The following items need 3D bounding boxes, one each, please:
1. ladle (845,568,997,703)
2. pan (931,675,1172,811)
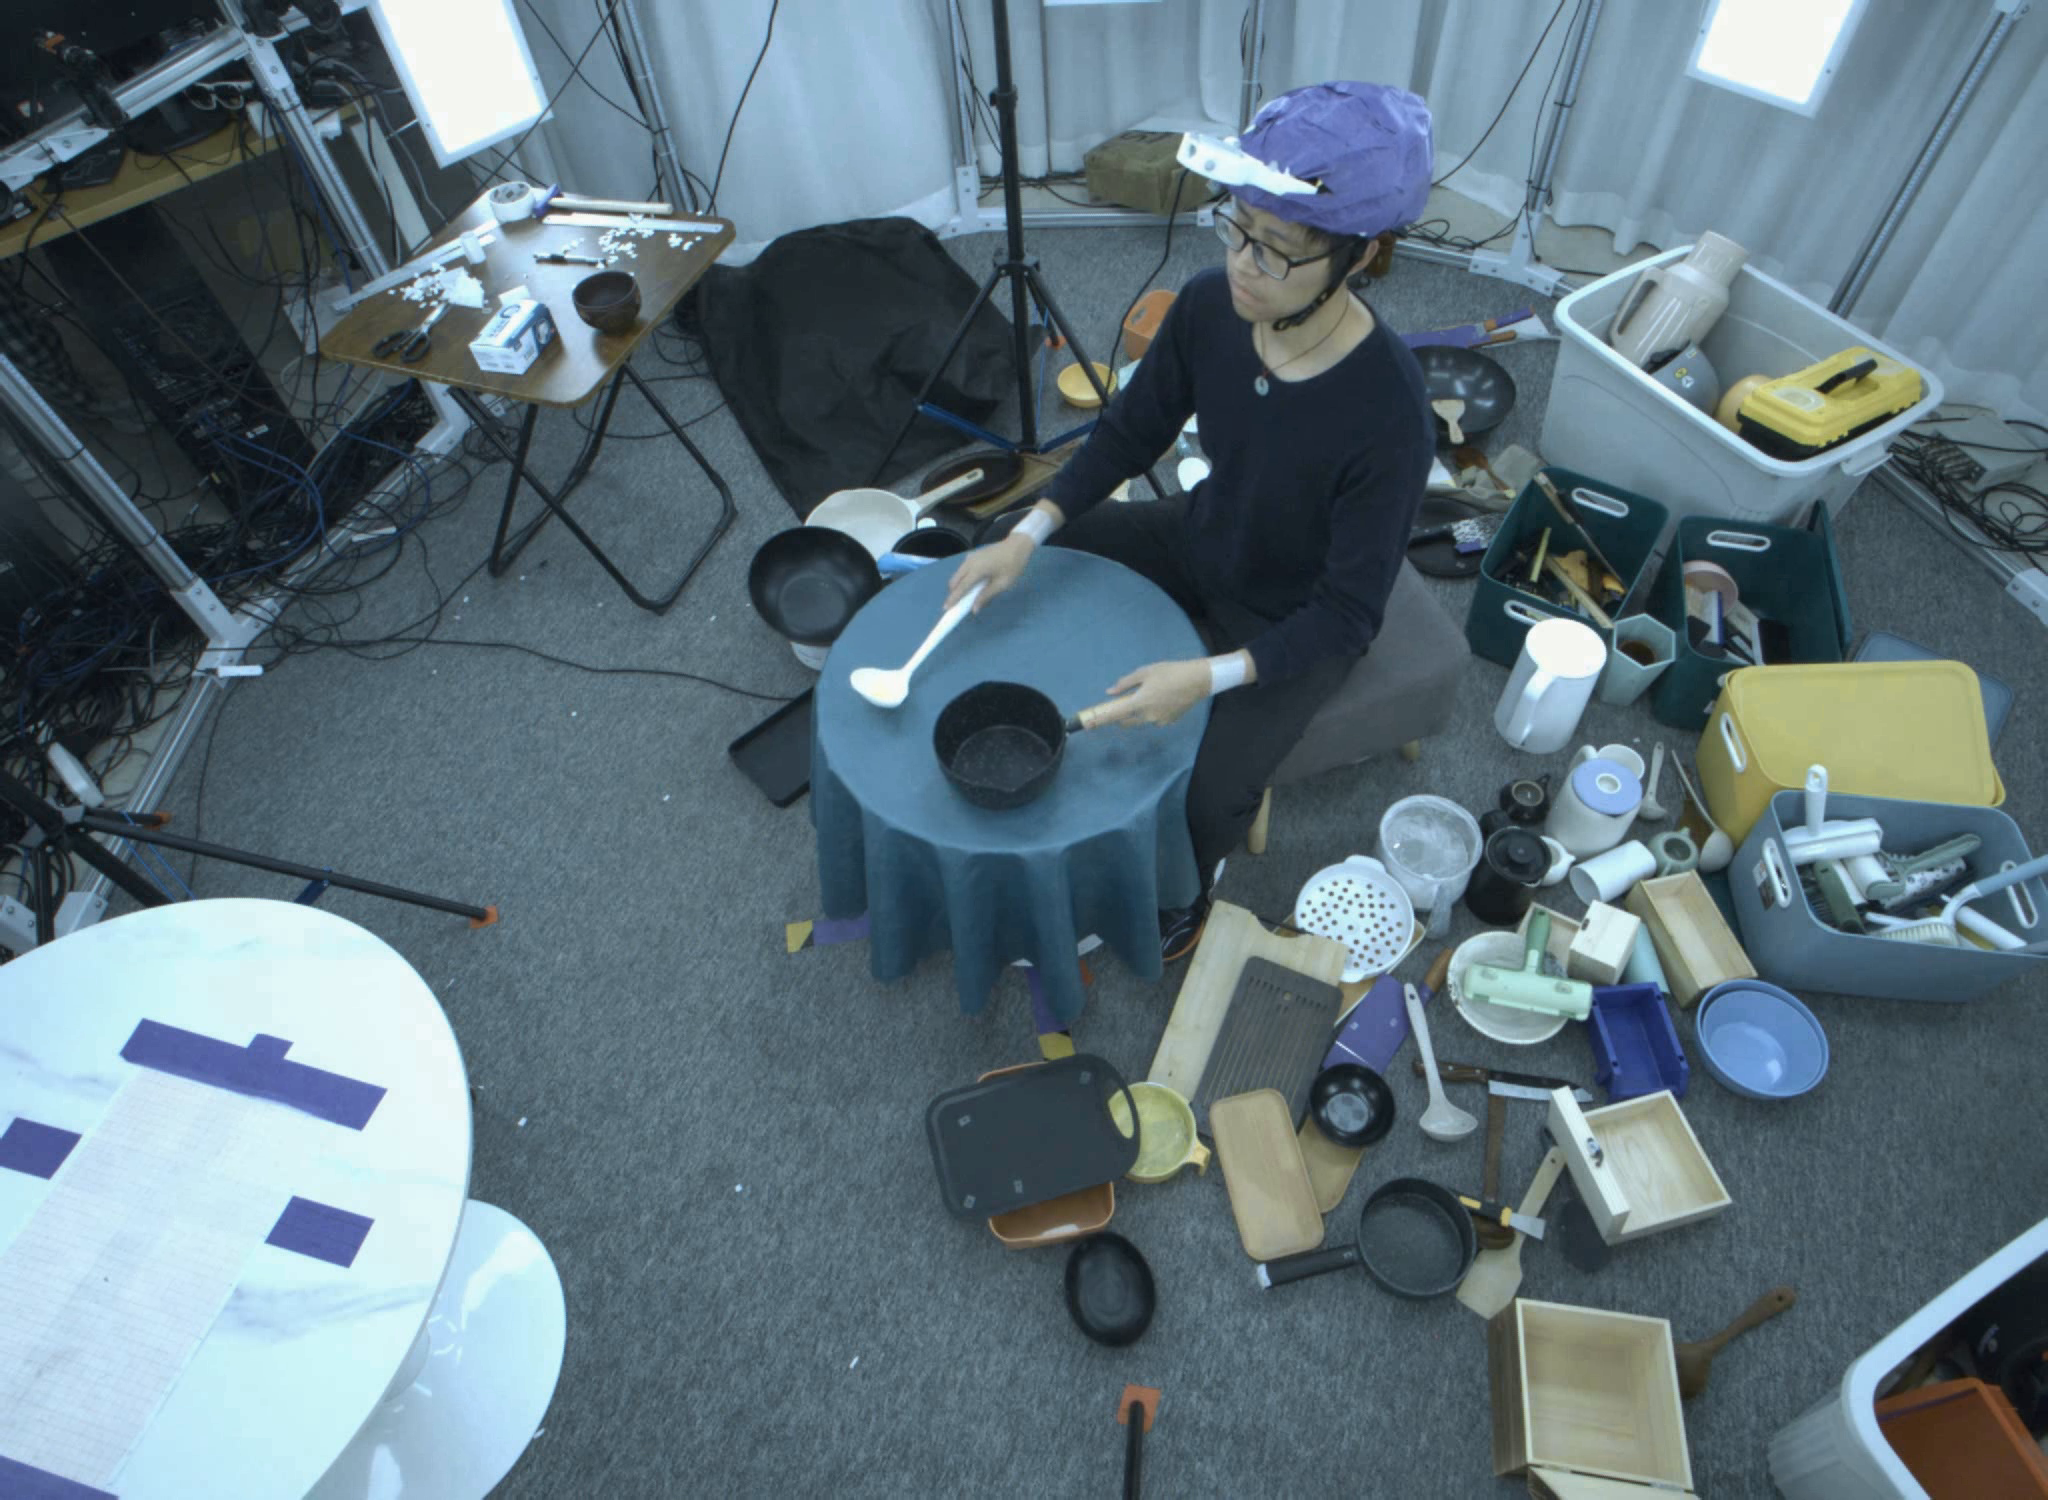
[{"bbox_3d":[-0.148,-0.179,1.848,0.088,0.071,0.294,32,70,26],"label":"ladle"},{"bbox_3d":[0.042,-0.025,1.737,0.344,0.109,0.204,-14,54,-6],"label":"pan"}]
